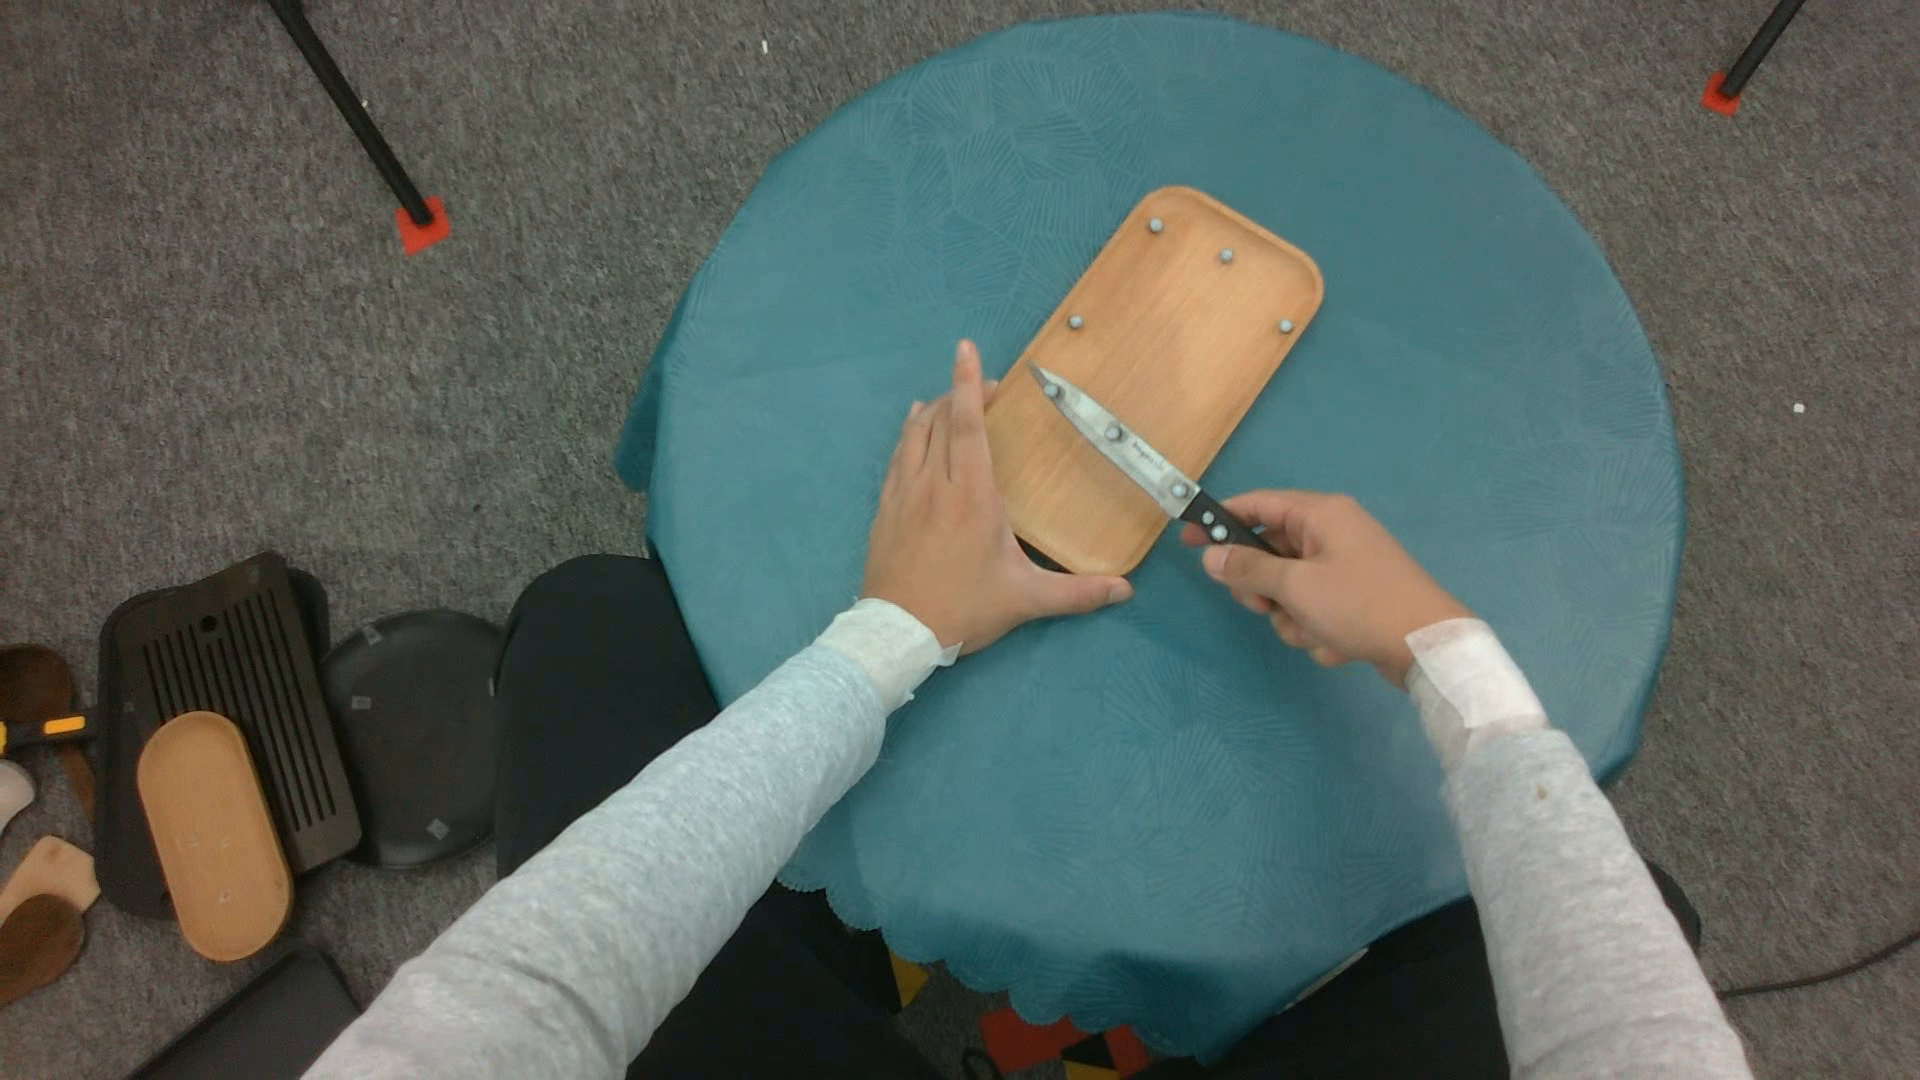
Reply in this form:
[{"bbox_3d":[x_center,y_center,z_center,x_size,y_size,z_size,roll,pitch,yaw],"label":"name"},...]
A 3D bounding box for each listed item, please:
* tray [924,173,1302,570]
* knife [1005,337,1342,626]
[{"bbox_3d":[0.092,-0.103,0.810,0.130,0.023,0.251,34,74,13],"label":"tray"},{"bbox_3d":[0.110,-0.039,0.731,0.238,0.016,0.024,43,109,19],"label":"knife"}]
